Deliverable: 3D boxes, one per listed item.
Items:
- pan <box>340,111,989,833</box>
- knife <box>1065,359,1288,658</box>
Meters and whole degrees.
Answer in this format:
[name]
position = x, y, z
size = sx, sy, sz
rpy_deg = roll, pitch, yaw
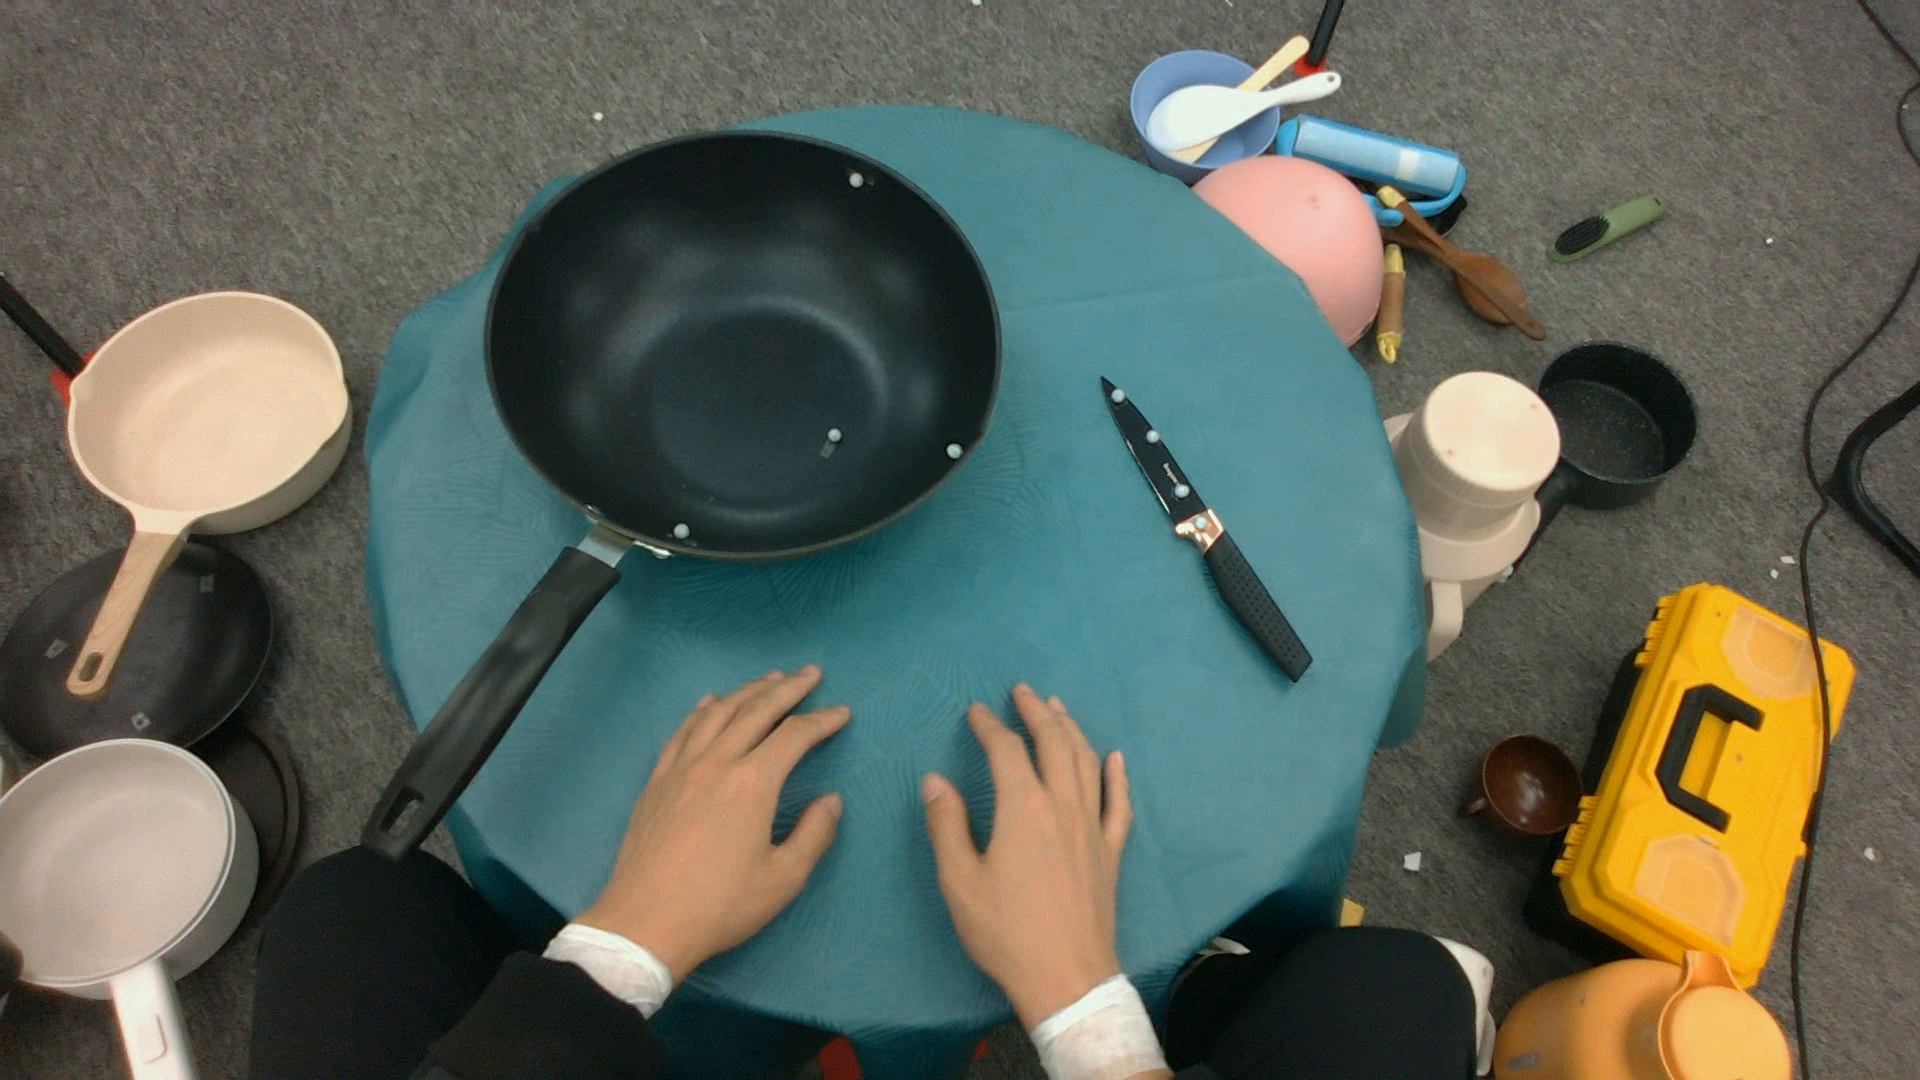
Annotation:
[pan]
position = -0.167, -0.038, 0.755
size = 0.288, 0.086, 0.465
rpy_deg = 26, 66, 7
[knife]
position = 0.125, -0.025, 0.816
size = 0.026, 0.017, 0.226
rpy_deg = -29, 69, -3
